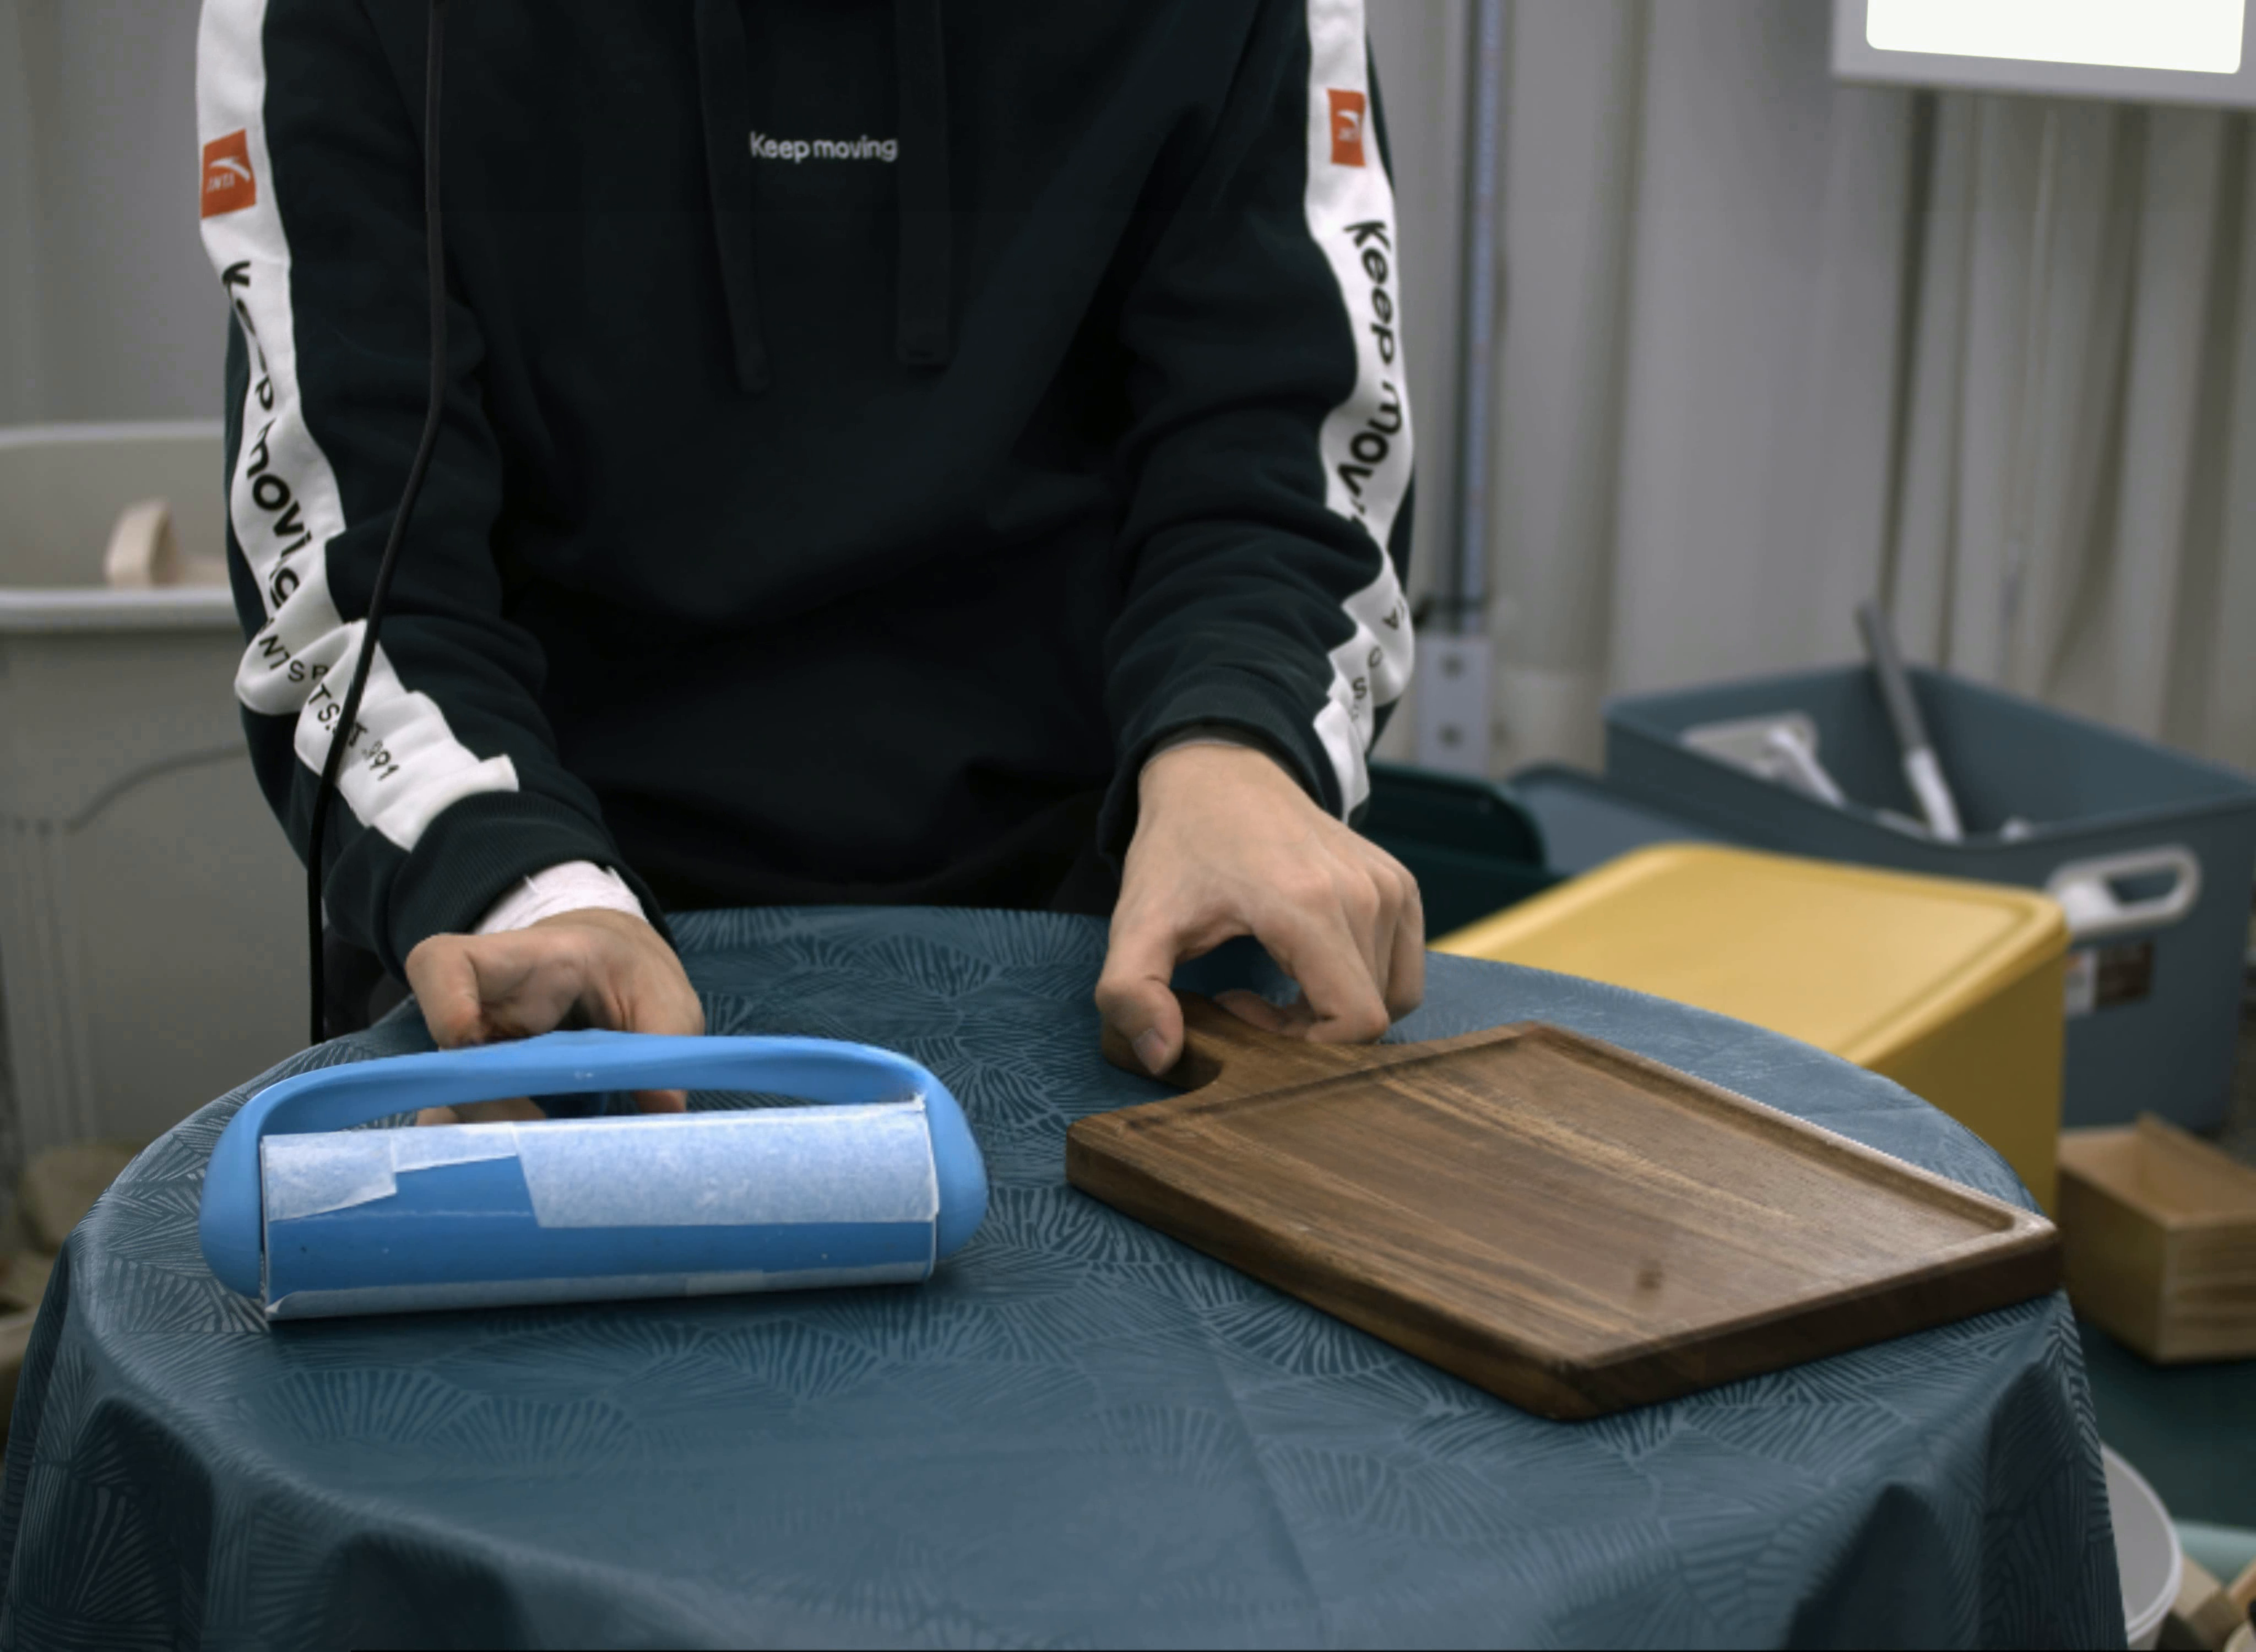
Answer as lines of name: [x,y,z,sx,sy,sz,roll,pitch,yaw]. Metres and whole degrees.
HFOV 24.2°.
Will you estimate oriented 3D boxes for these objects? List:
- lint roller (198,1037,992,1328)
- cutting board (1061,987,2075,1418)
lint roller: [-0.165,0.094,1.574,0.229,0.068,0.178,-5,18,-13]
cutting board: [0.100,0.102,1.618,0.202,0.023,0.347,-10,19,-35]
